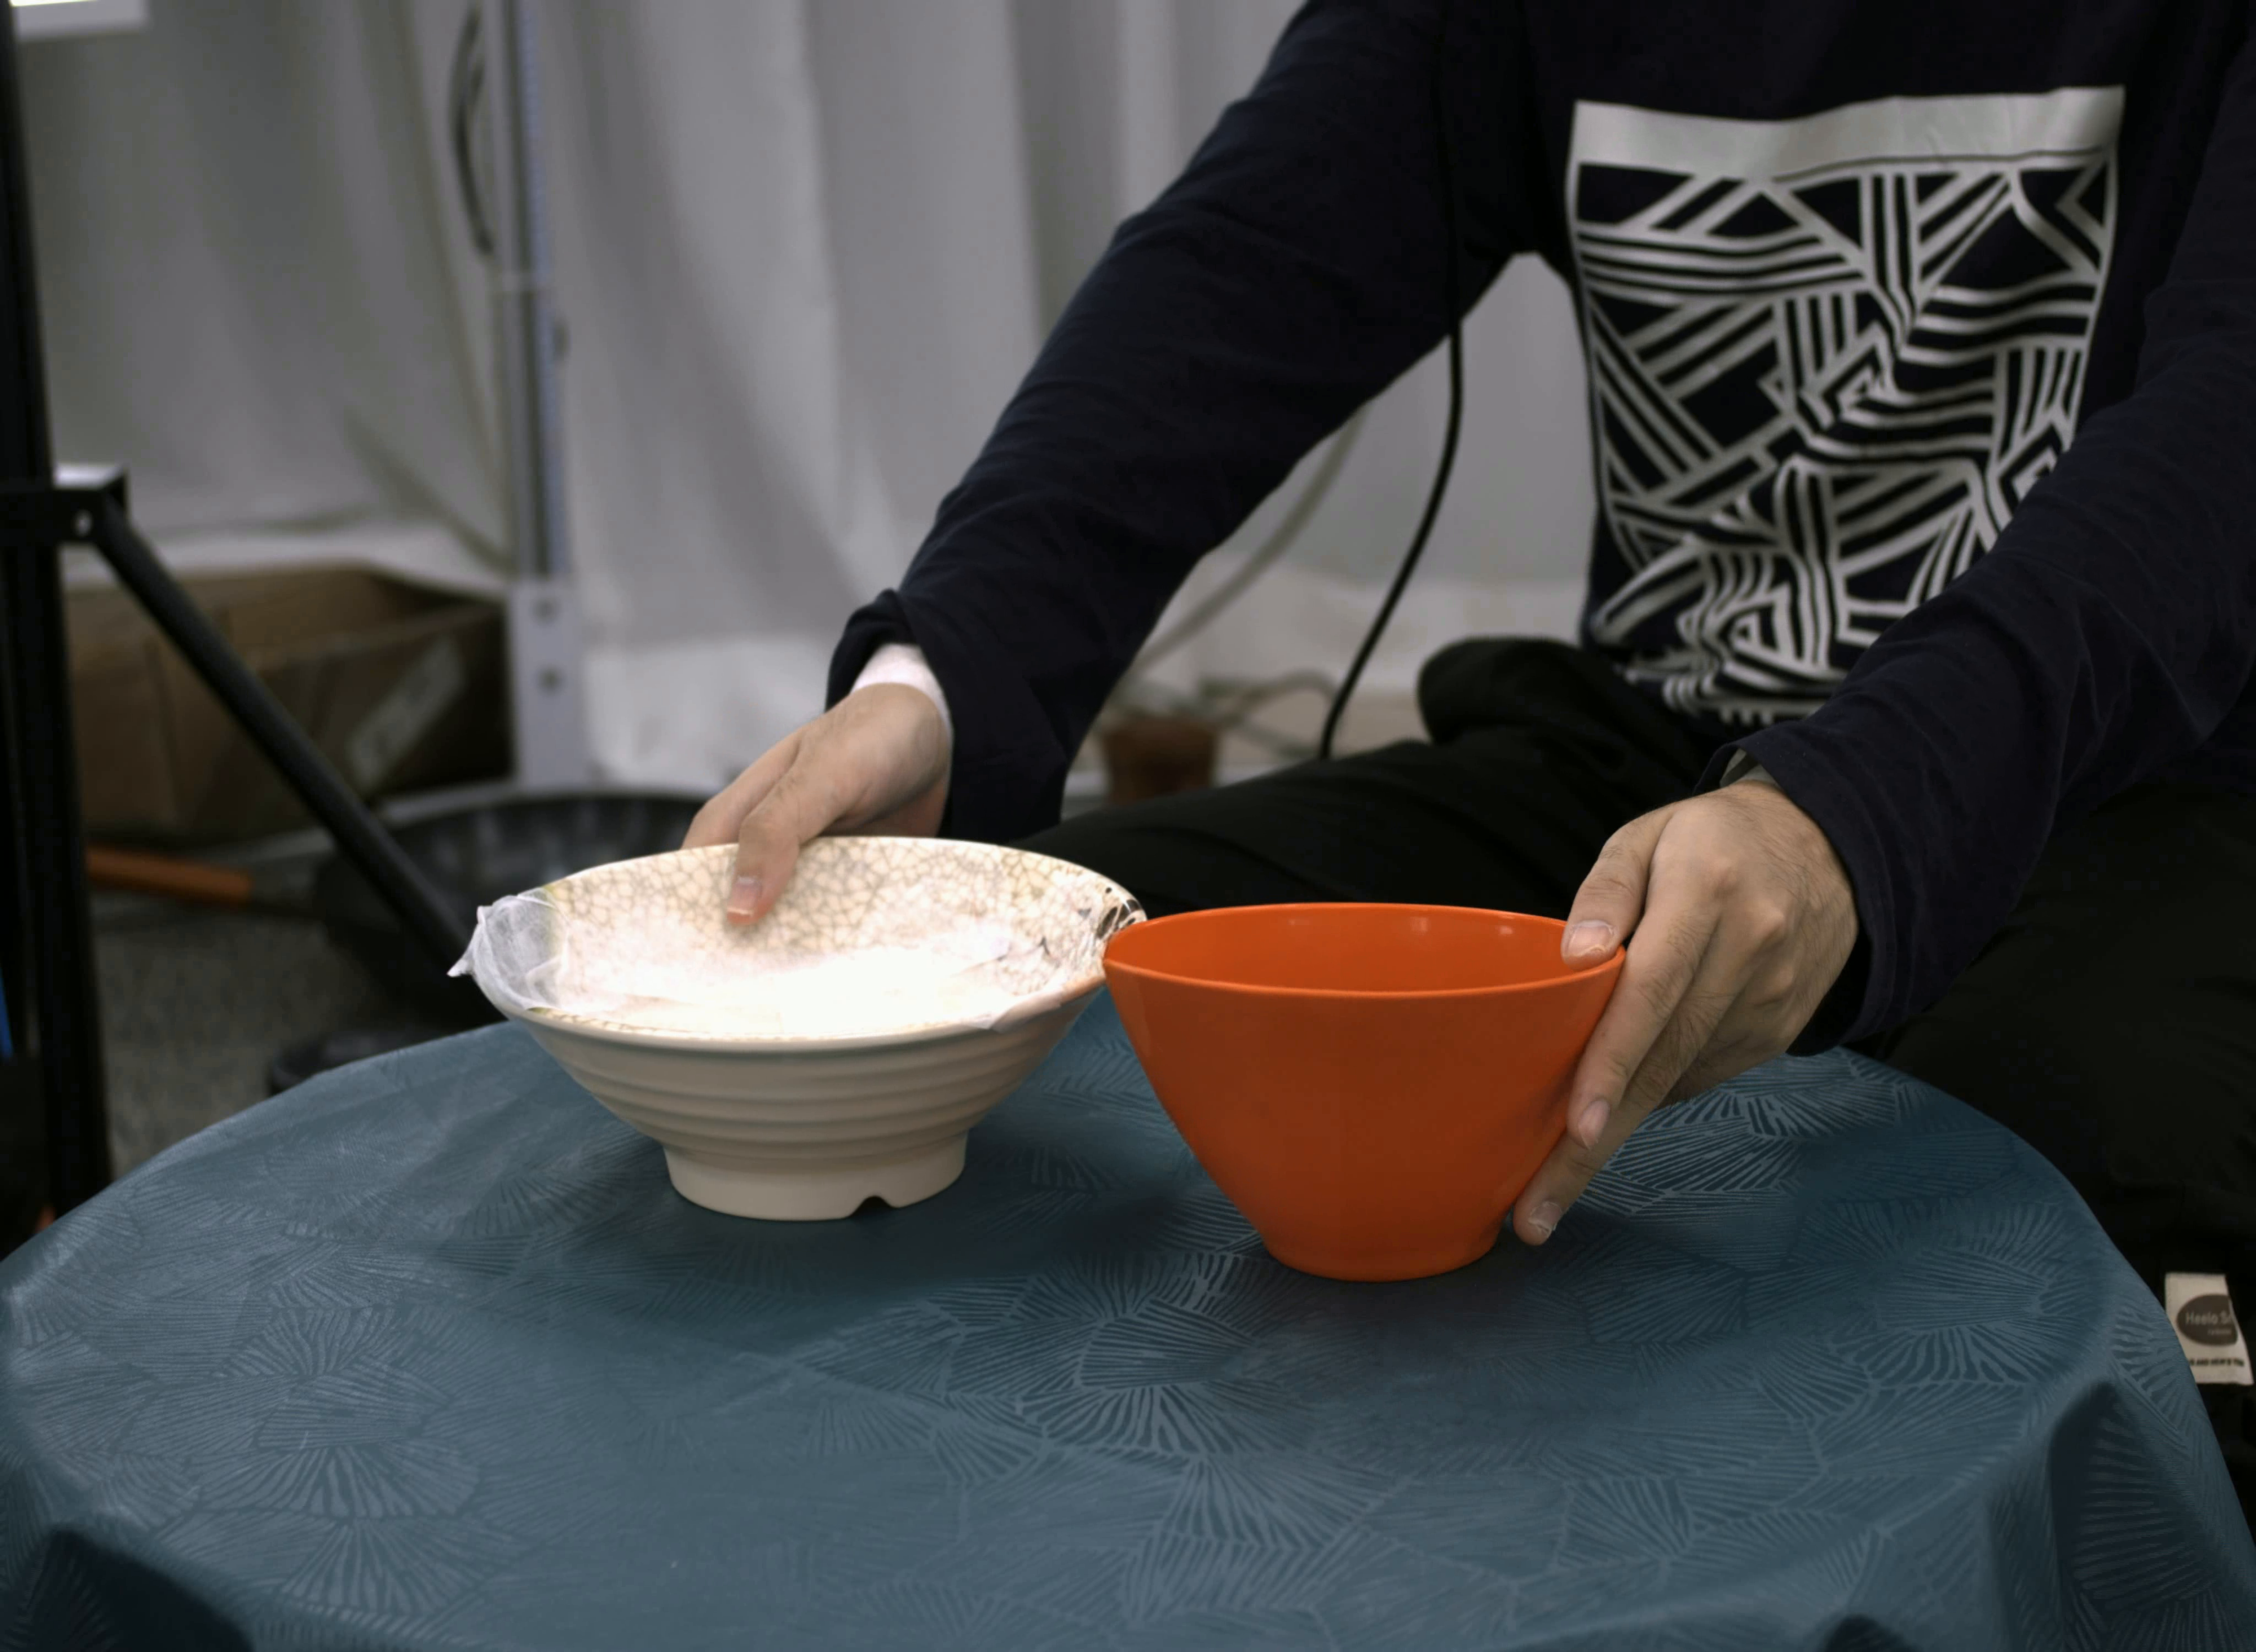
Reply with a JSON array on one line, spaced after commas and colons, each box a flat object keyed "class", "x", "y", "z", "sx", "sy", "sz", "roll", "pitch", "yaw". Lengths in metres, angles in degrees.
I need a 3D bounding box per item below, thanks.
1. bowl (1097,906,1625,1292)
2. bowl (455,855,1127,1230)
[{"class": "bowl", "x": 0.066, "y": 0.074, "z": 1.486, "sx": 0.147, "sy": 0.104, "sz": 0.149, "roll": -2, "pitch": 16, "yaw": -1}, {"class": "bowl", "x": -0.098, "y": 0.070, "z": 1.582, "sx": 0.203, "sy": 0.078, "sz": 0.205, "roll": 1, "pitch": 13, "yaw": -2}]
